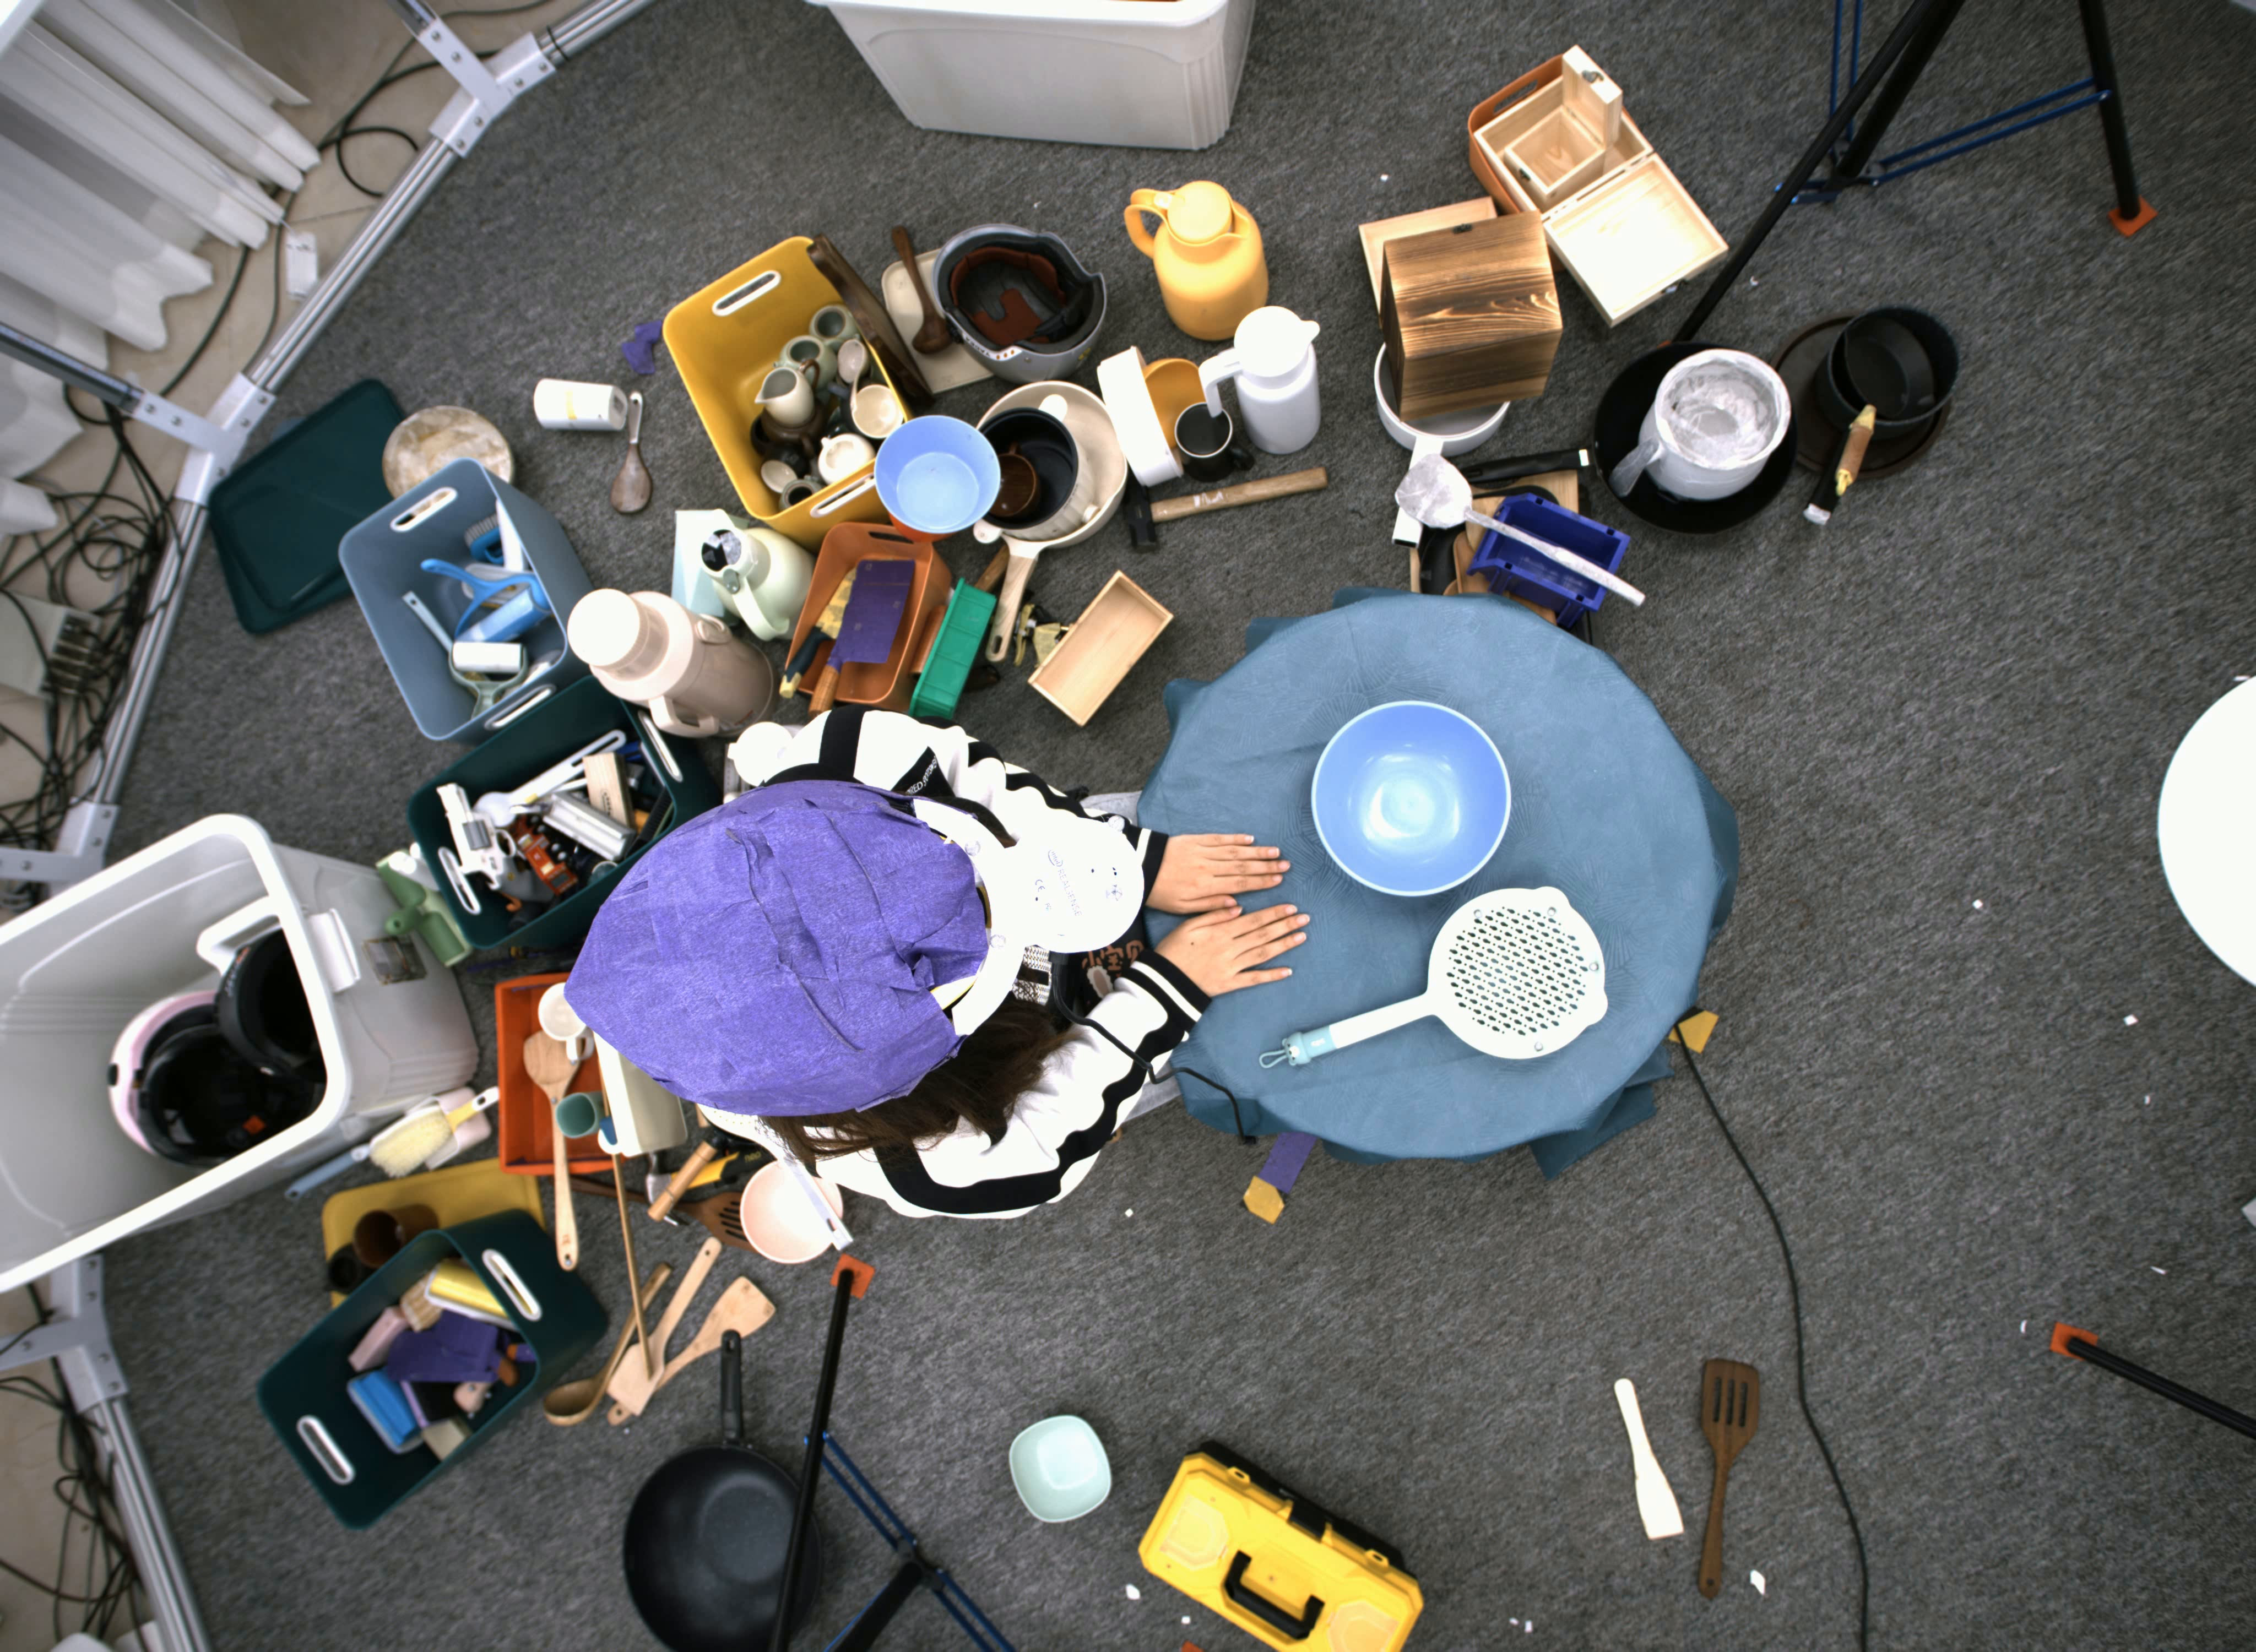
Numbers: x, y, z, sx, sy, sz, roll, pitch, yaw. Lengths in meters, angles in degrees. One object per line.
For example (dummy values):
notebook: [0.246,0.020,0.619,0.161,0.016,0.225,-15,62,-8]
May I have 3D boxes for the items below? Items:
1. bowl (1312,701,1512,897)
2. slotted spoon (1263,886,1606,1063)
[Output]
bowl: [0.289,-0.024,1.414,0.197,0.095,0.196,-1,87,10]
slotted spoon: [0.305,0.181,1.419,0.361,0.075,0.168,-21,82,10]
